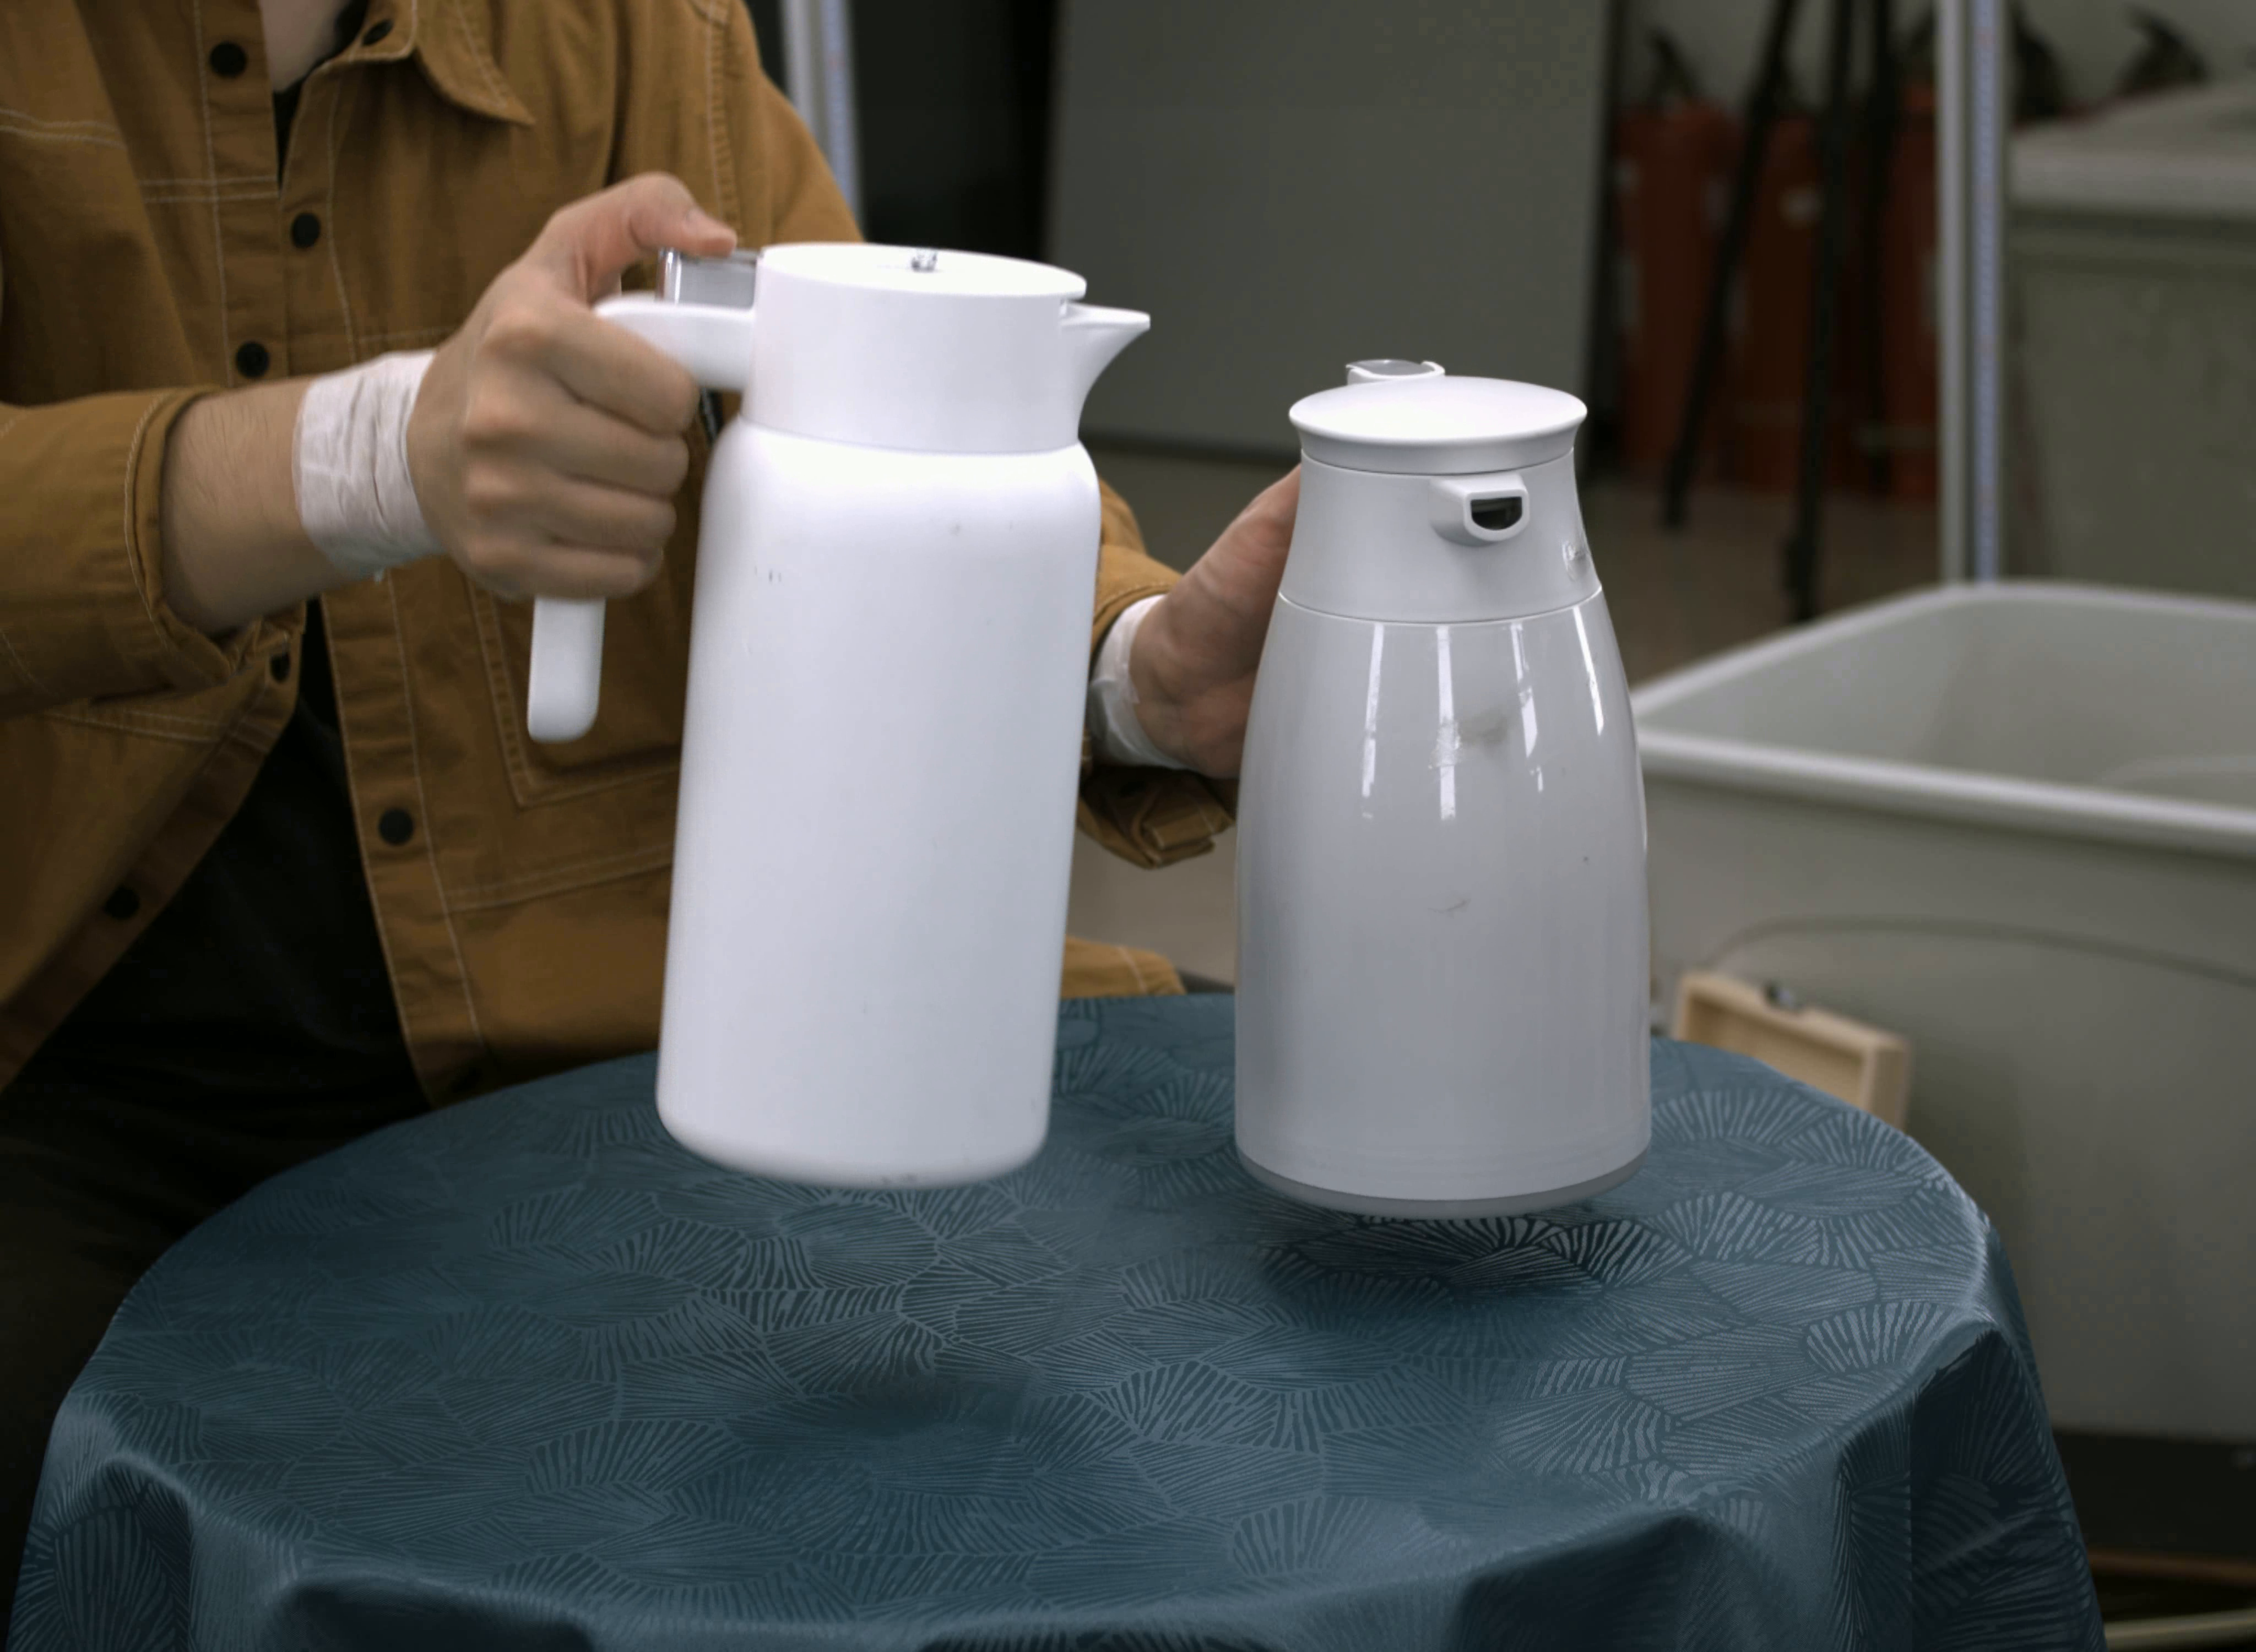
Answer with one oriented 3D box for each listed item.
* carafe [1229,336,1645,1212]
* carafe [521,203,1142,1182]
[{"bbox_3d":[0.089,-0.024,1.682,0.130,0.251,0.169,-5,14,-13],"label":"carafe"},{"bbox_3d":[-0.090,-0.040,1.570,0.170,0.272,0.124,4,13,-3],"label":"carafe"}]
